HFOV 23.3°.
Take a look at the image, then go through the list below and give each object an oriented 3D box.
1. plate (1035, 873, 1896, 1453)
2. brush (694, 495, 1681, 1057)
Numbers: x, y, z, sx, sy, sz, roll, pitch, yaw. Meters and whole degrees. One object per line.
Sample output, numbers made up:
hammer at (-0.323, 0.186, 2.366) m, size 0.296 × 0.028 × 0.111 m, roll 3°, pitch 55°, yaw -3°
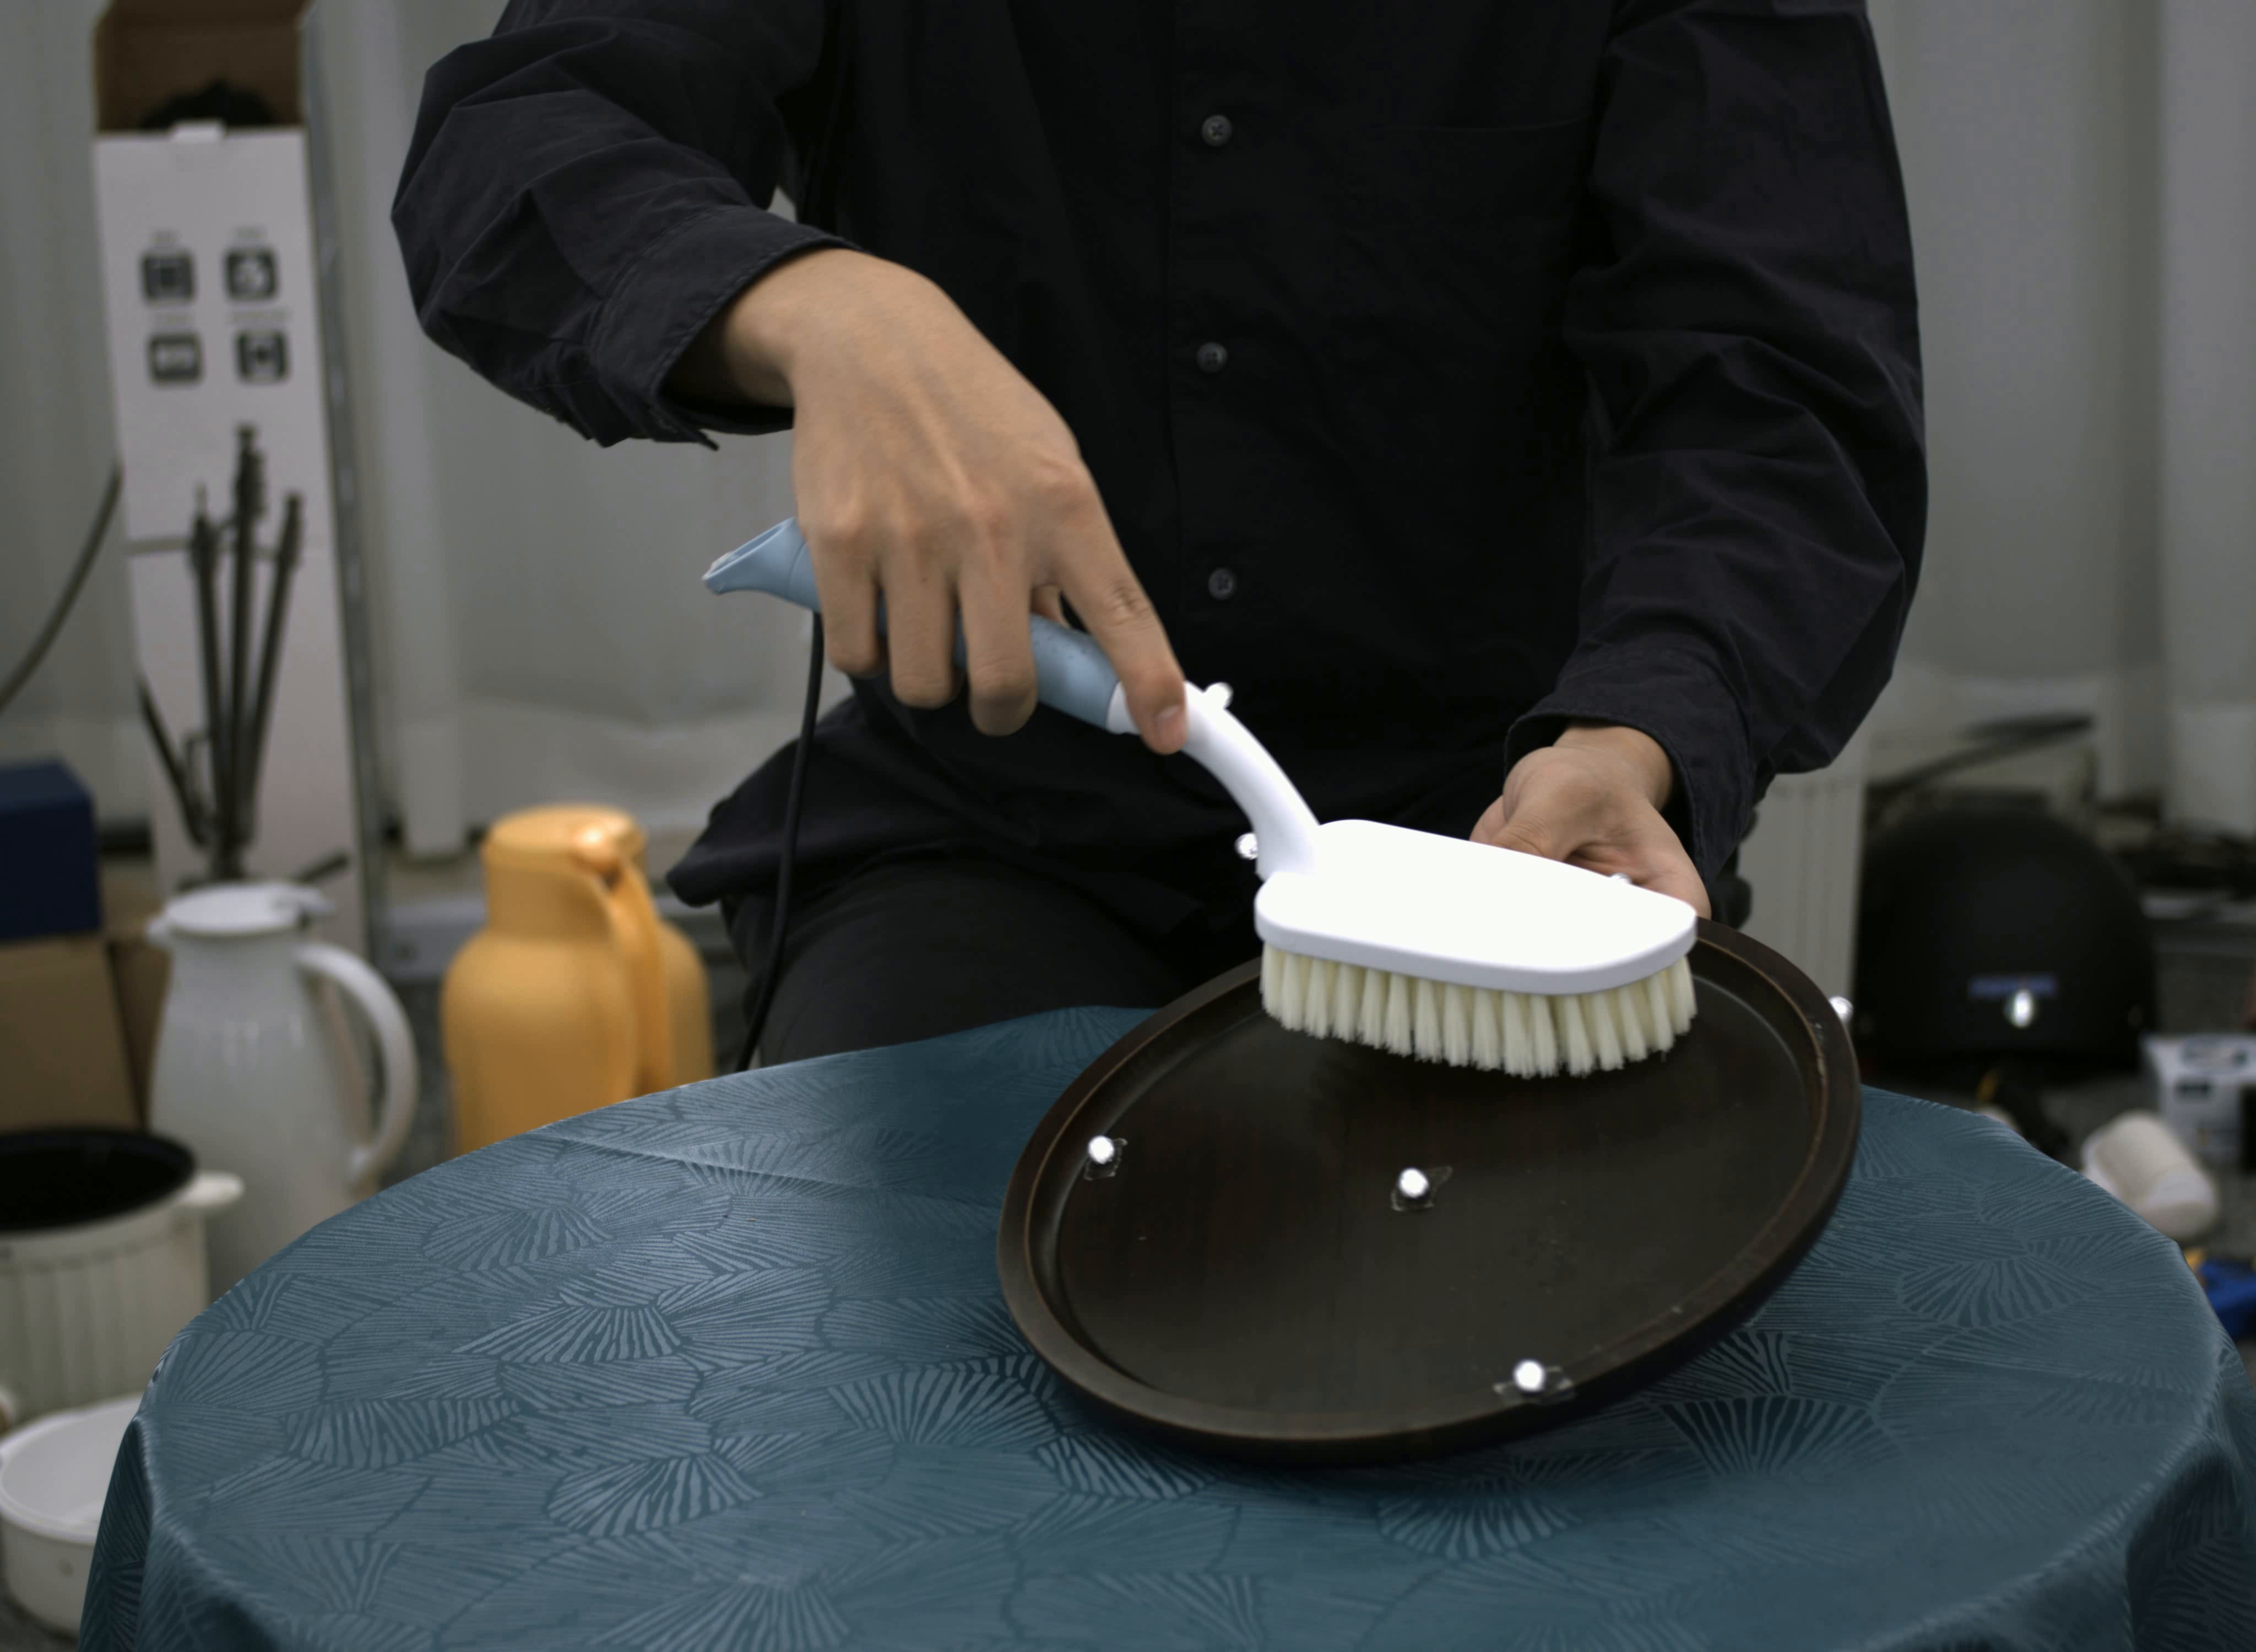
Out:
plate at (0.097, 0.094, 1.569) m, size 0.254 × 0.029 × 0.258 m, roll -14°, pitch 31°, yaw 8°
brush at (0.013, -0.005, 1.636) m, size 0.326 × 0.085 × 0.082 m, roll 23°, pitch -3°, yaw 14°
